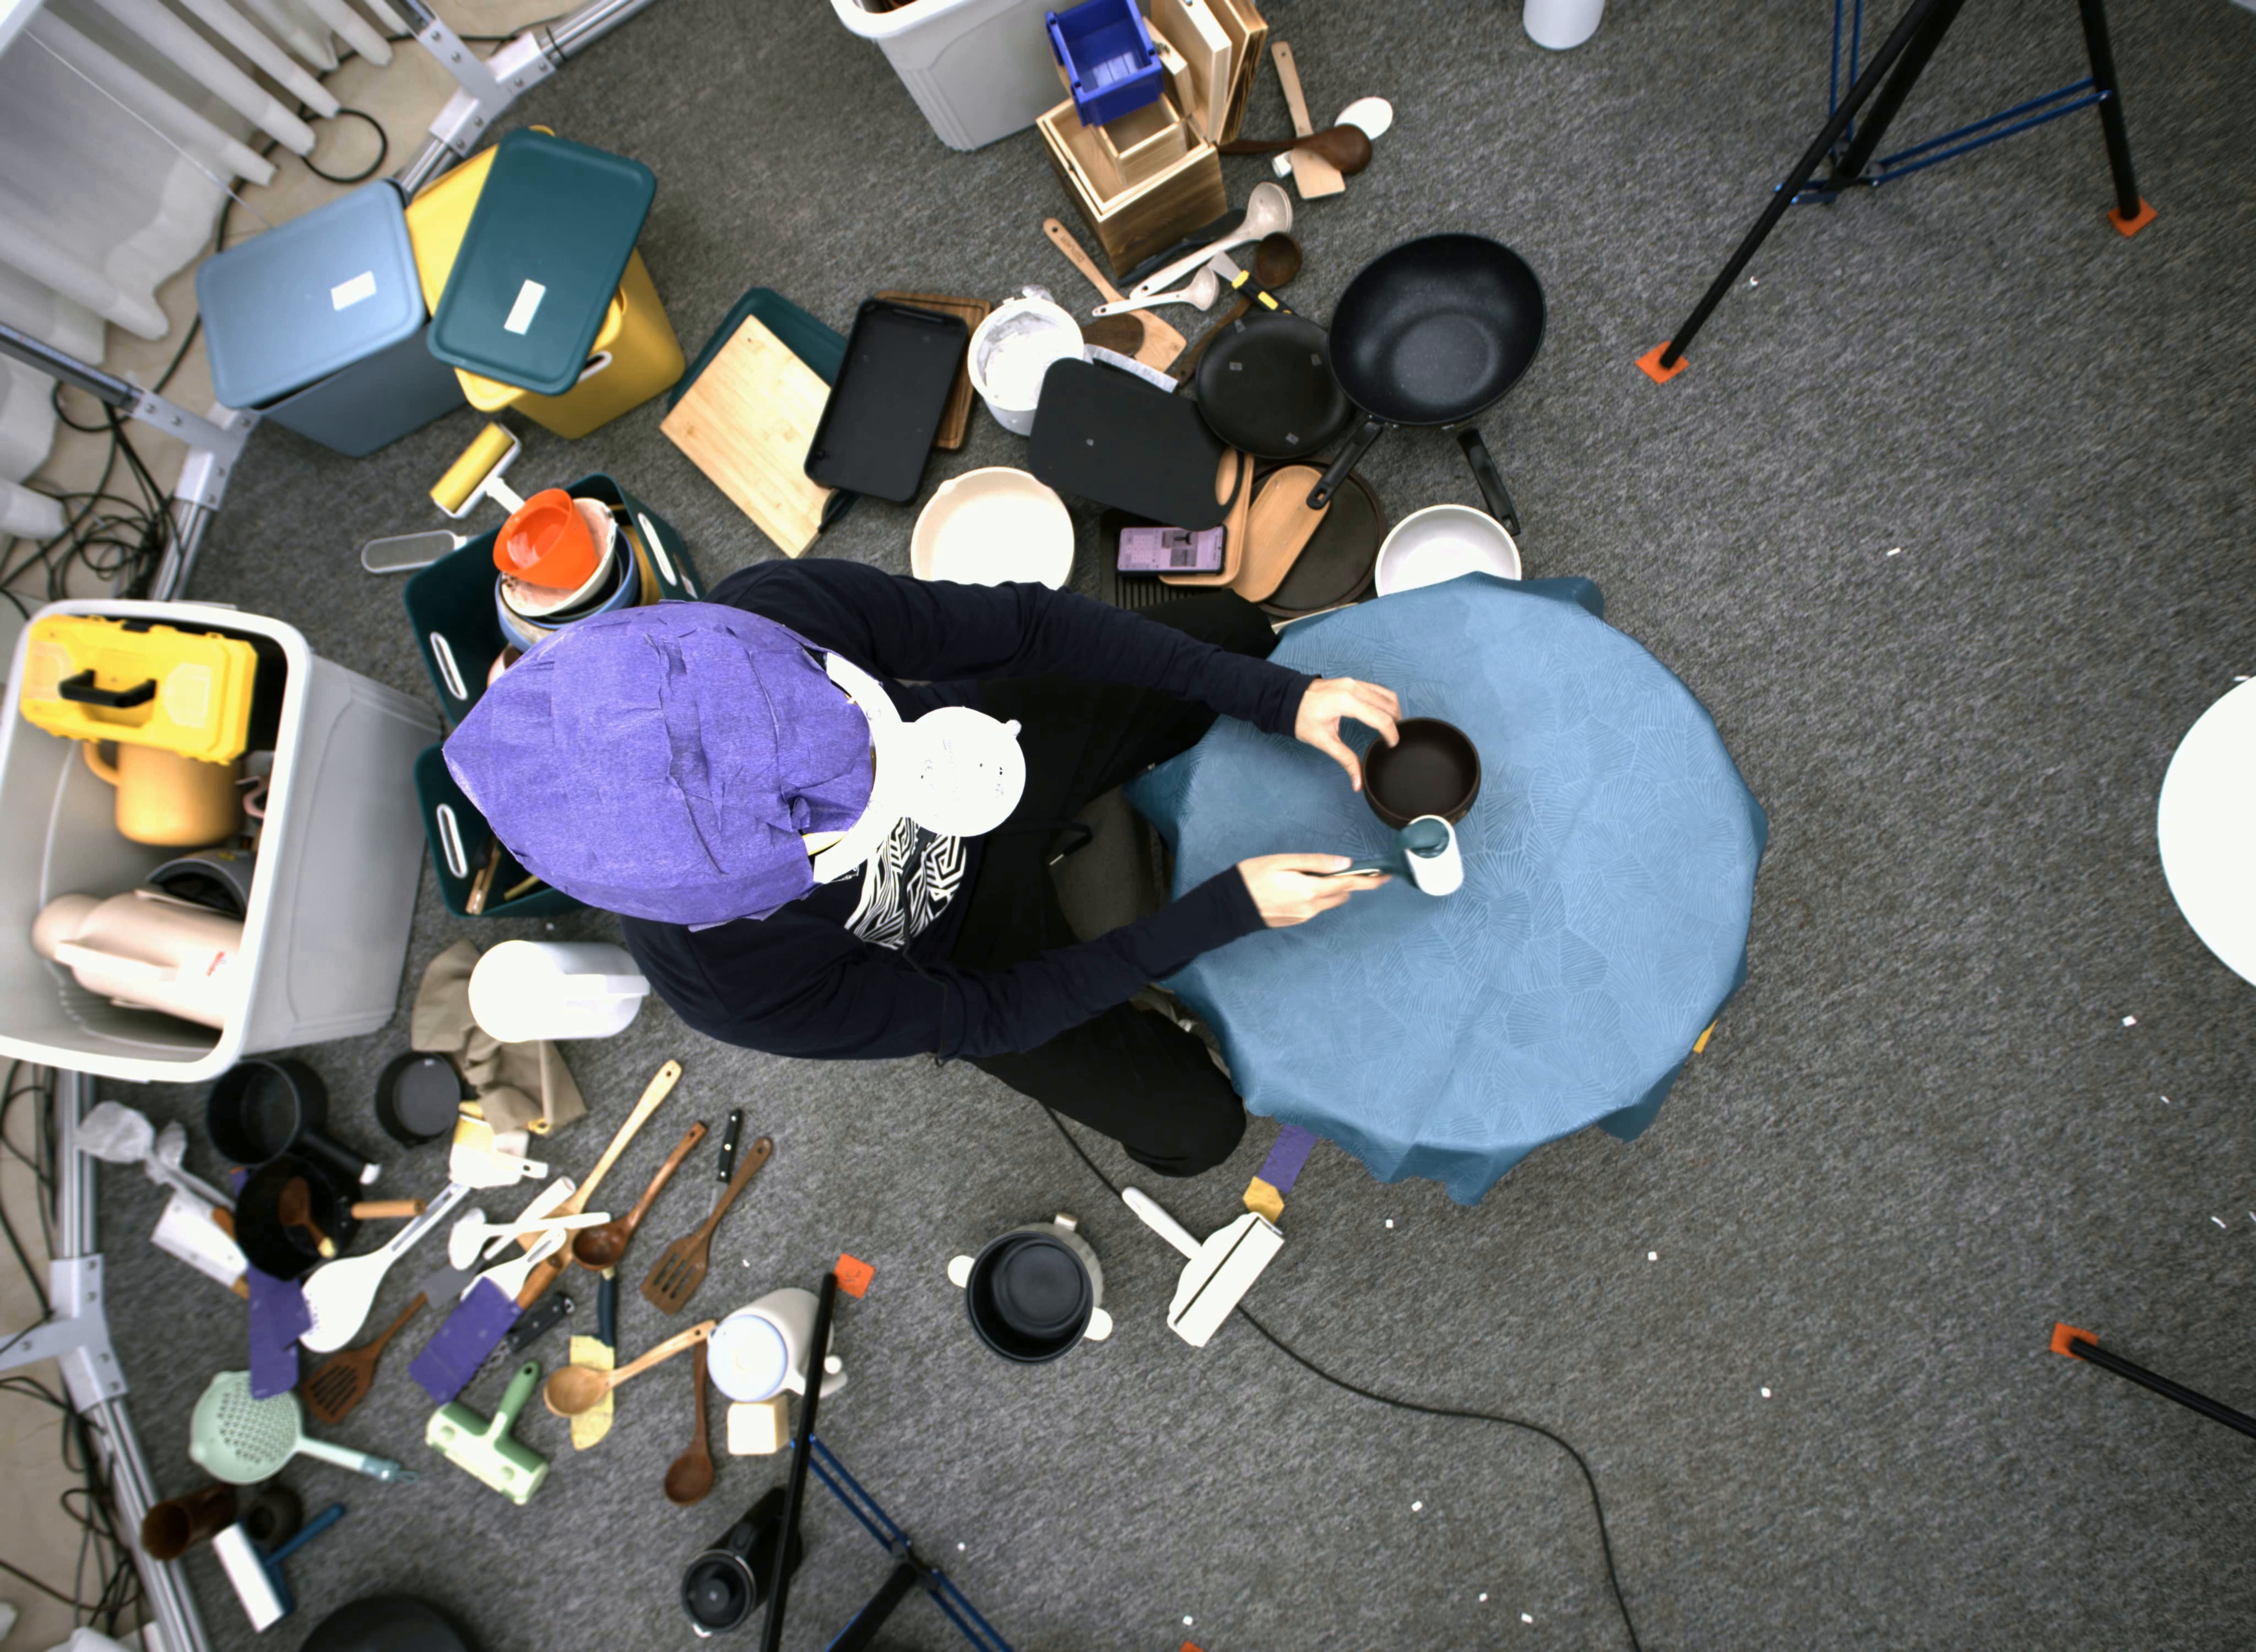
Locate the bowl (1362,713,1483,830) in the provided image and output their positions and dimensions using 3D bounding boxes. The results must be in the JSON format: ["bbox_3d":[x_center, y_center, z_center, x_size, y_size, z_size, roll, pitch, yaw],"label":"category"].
[{"bbox_3d":[0.296,-0.049,1.378,0.118,0.070,0.116,-5,71,14],"label":"bowl"}]

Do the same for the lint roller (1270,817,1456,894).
[{"bbox_3d":[0.232,0.047,1.371,0.181,0.136,0.047,-17,66,13],"label":"lint roller"}]
